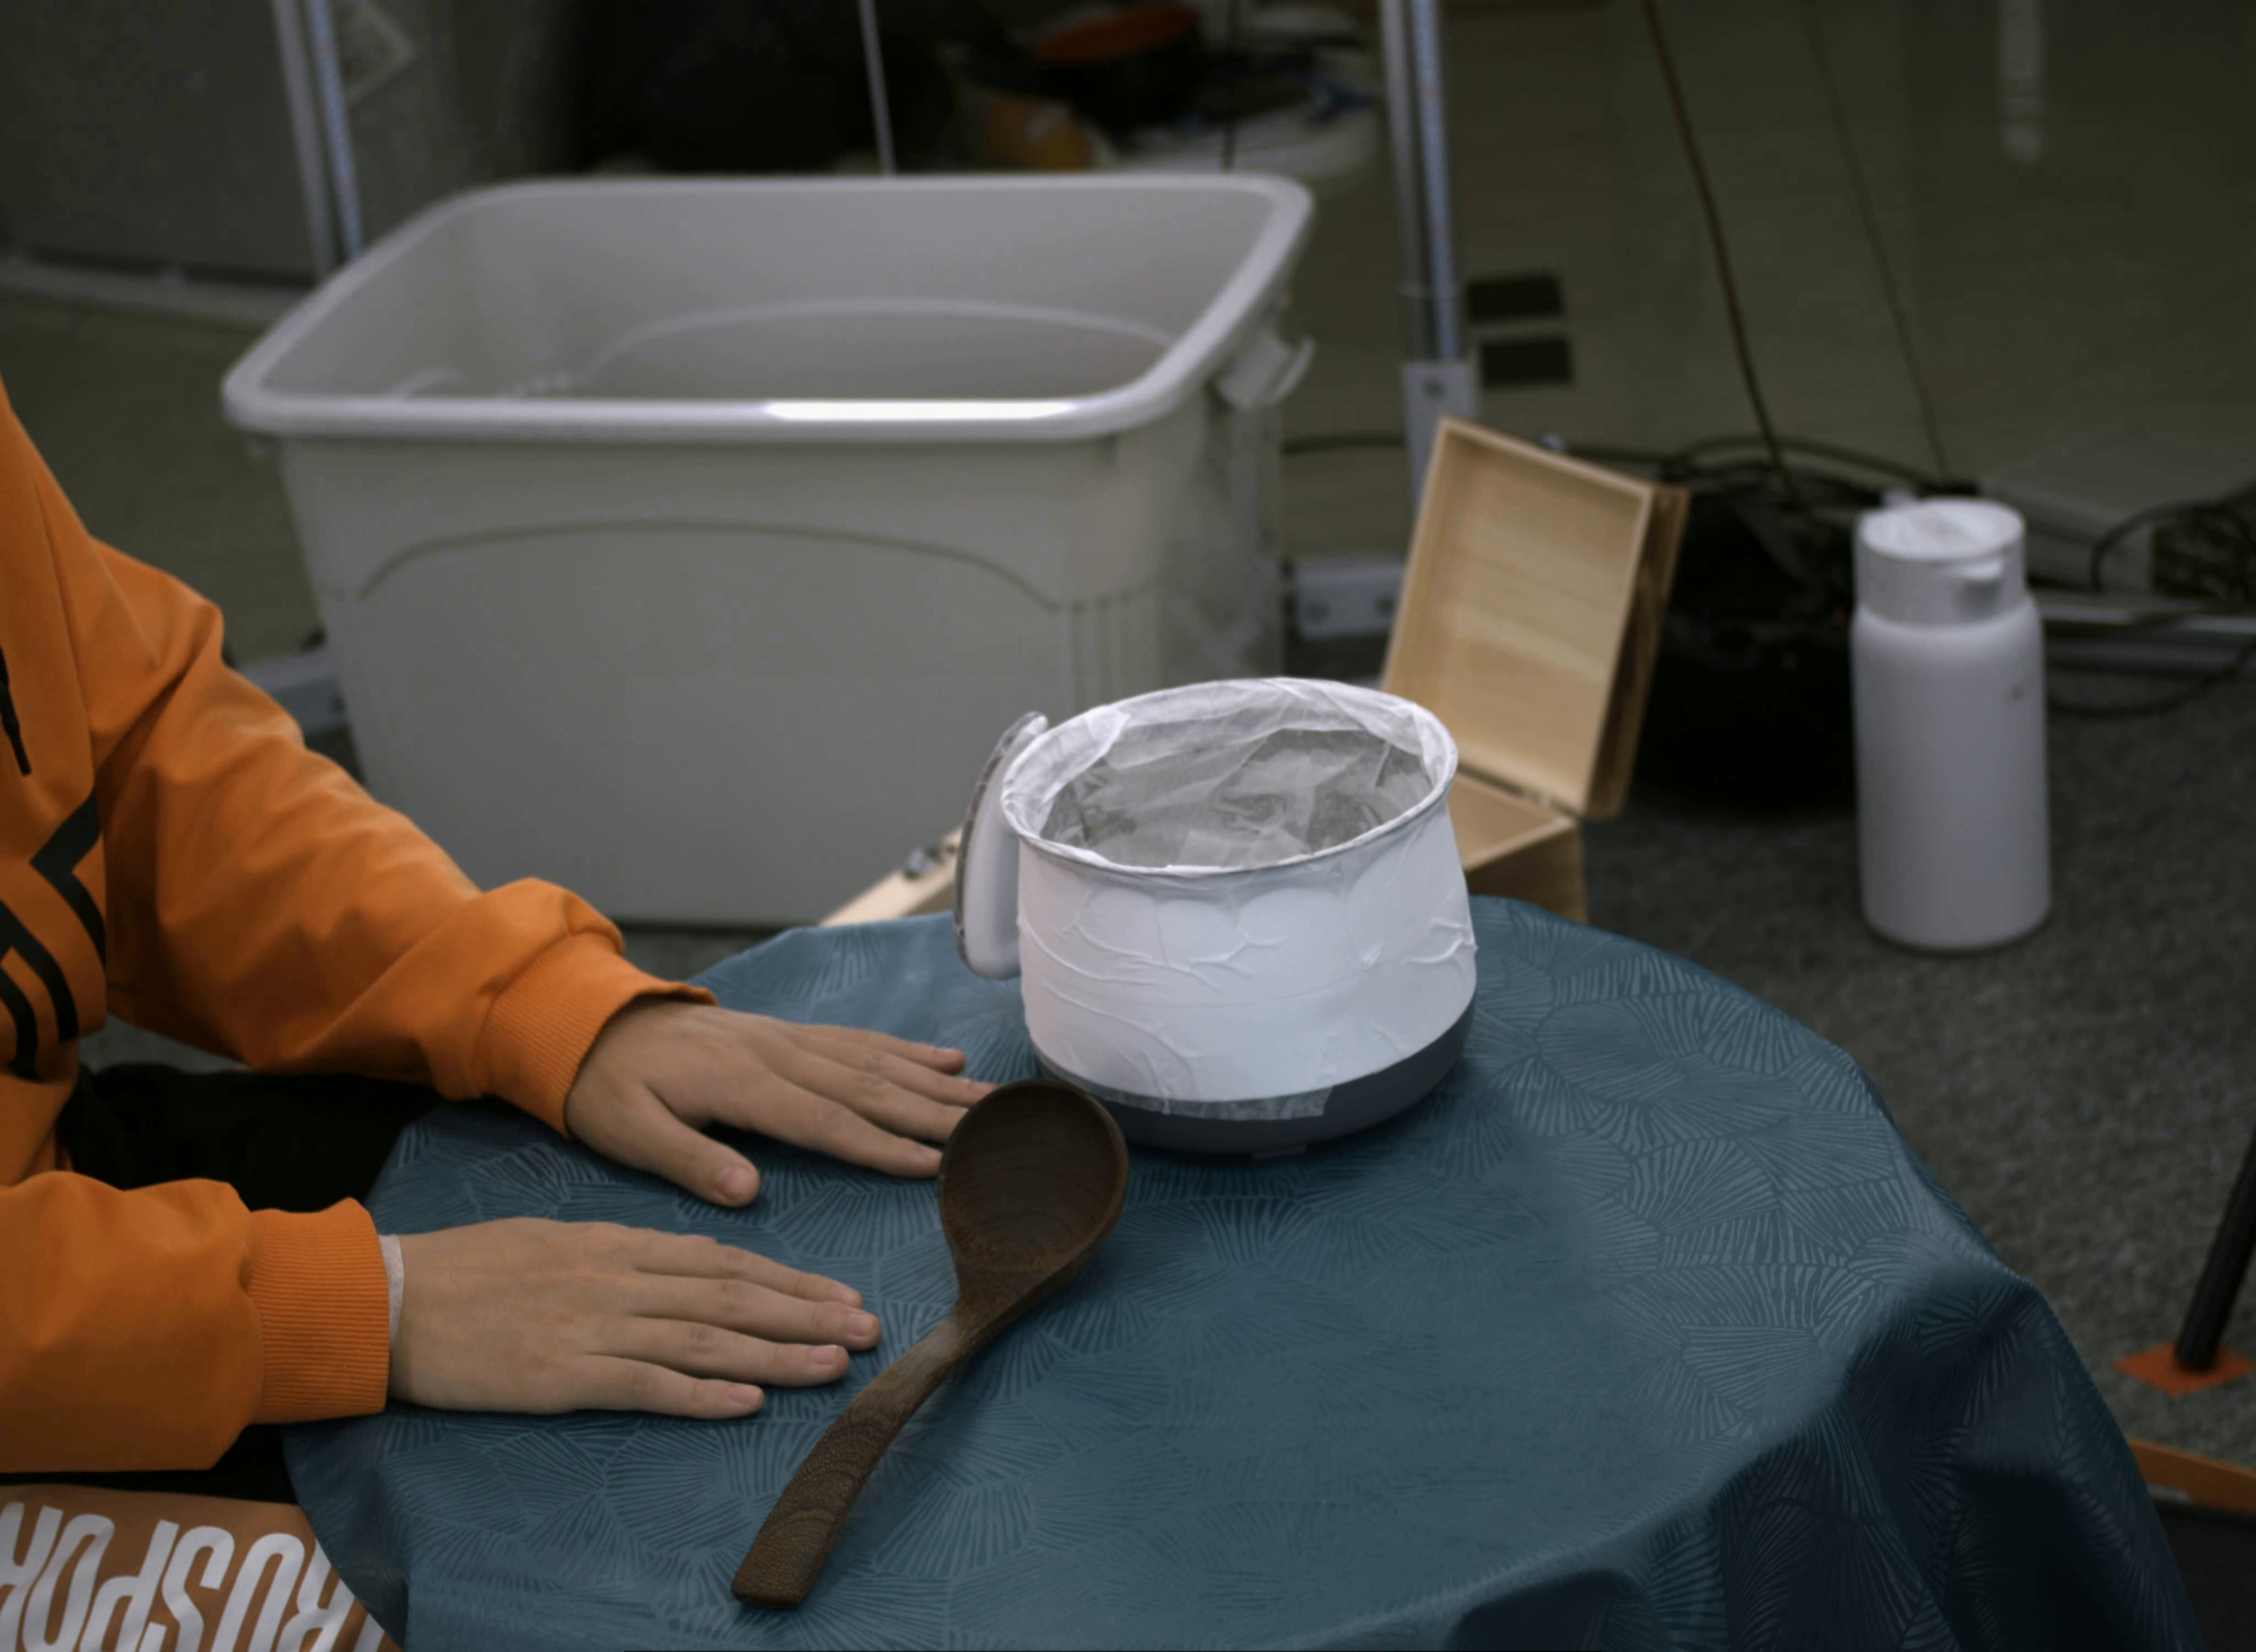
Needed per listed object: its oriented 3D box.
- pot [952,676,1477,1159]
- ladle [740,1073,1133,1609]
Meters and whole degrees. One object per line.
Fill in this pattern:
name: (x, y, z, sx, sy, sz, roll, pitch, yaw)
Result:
pot: (0.023, 0.031, 2.207, 0.232, 0.139, 0.177, 14, 32, 36)
ladle: (-0.074, 0.175, 2.004, 0.076, 0.072, 0.270, 2, 26, 24)
